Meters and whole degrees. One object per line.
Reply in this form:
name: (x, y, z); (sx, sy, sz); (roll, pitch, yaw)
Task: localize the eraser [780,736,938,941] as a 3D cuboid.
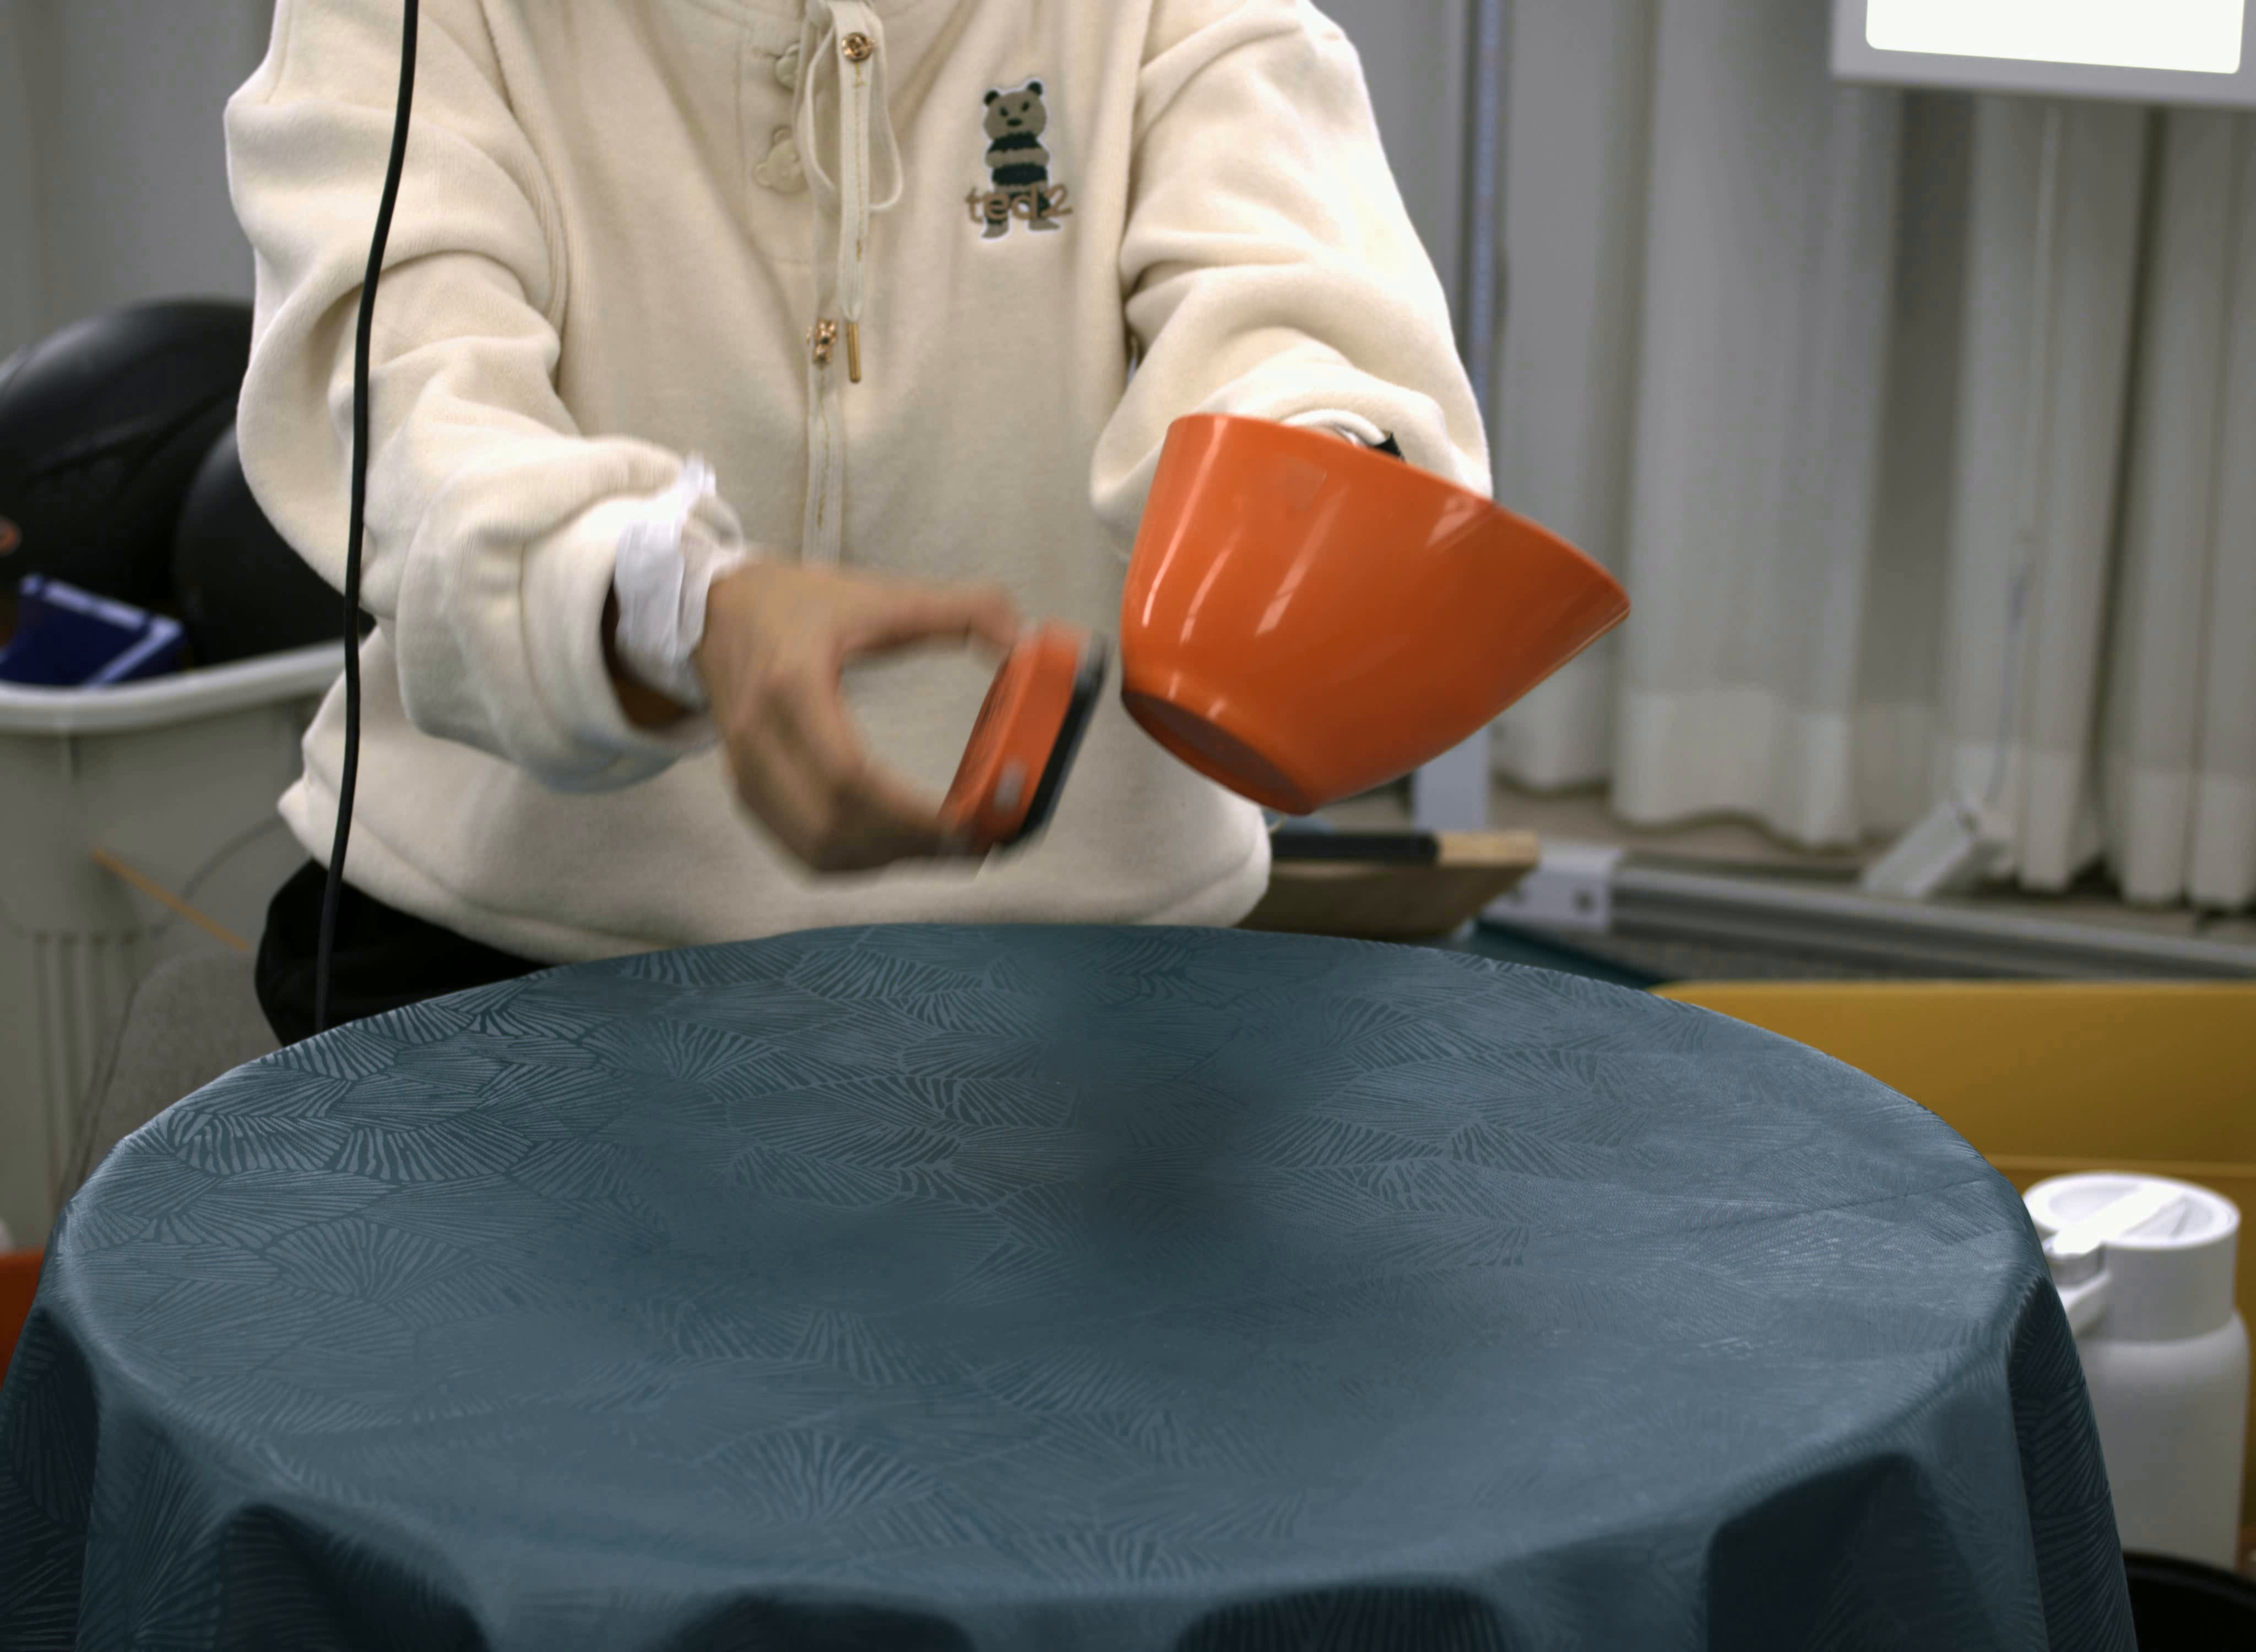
eraser: (-0.081, 0.004, 1.573); (0.023, 0.059, 0.108); (27, -3, -4)

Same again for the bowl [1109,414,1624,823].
bowl: (0.059, -0.055, 1.563); (0.147, 0.104, 0.148); (31, -11, 7)
